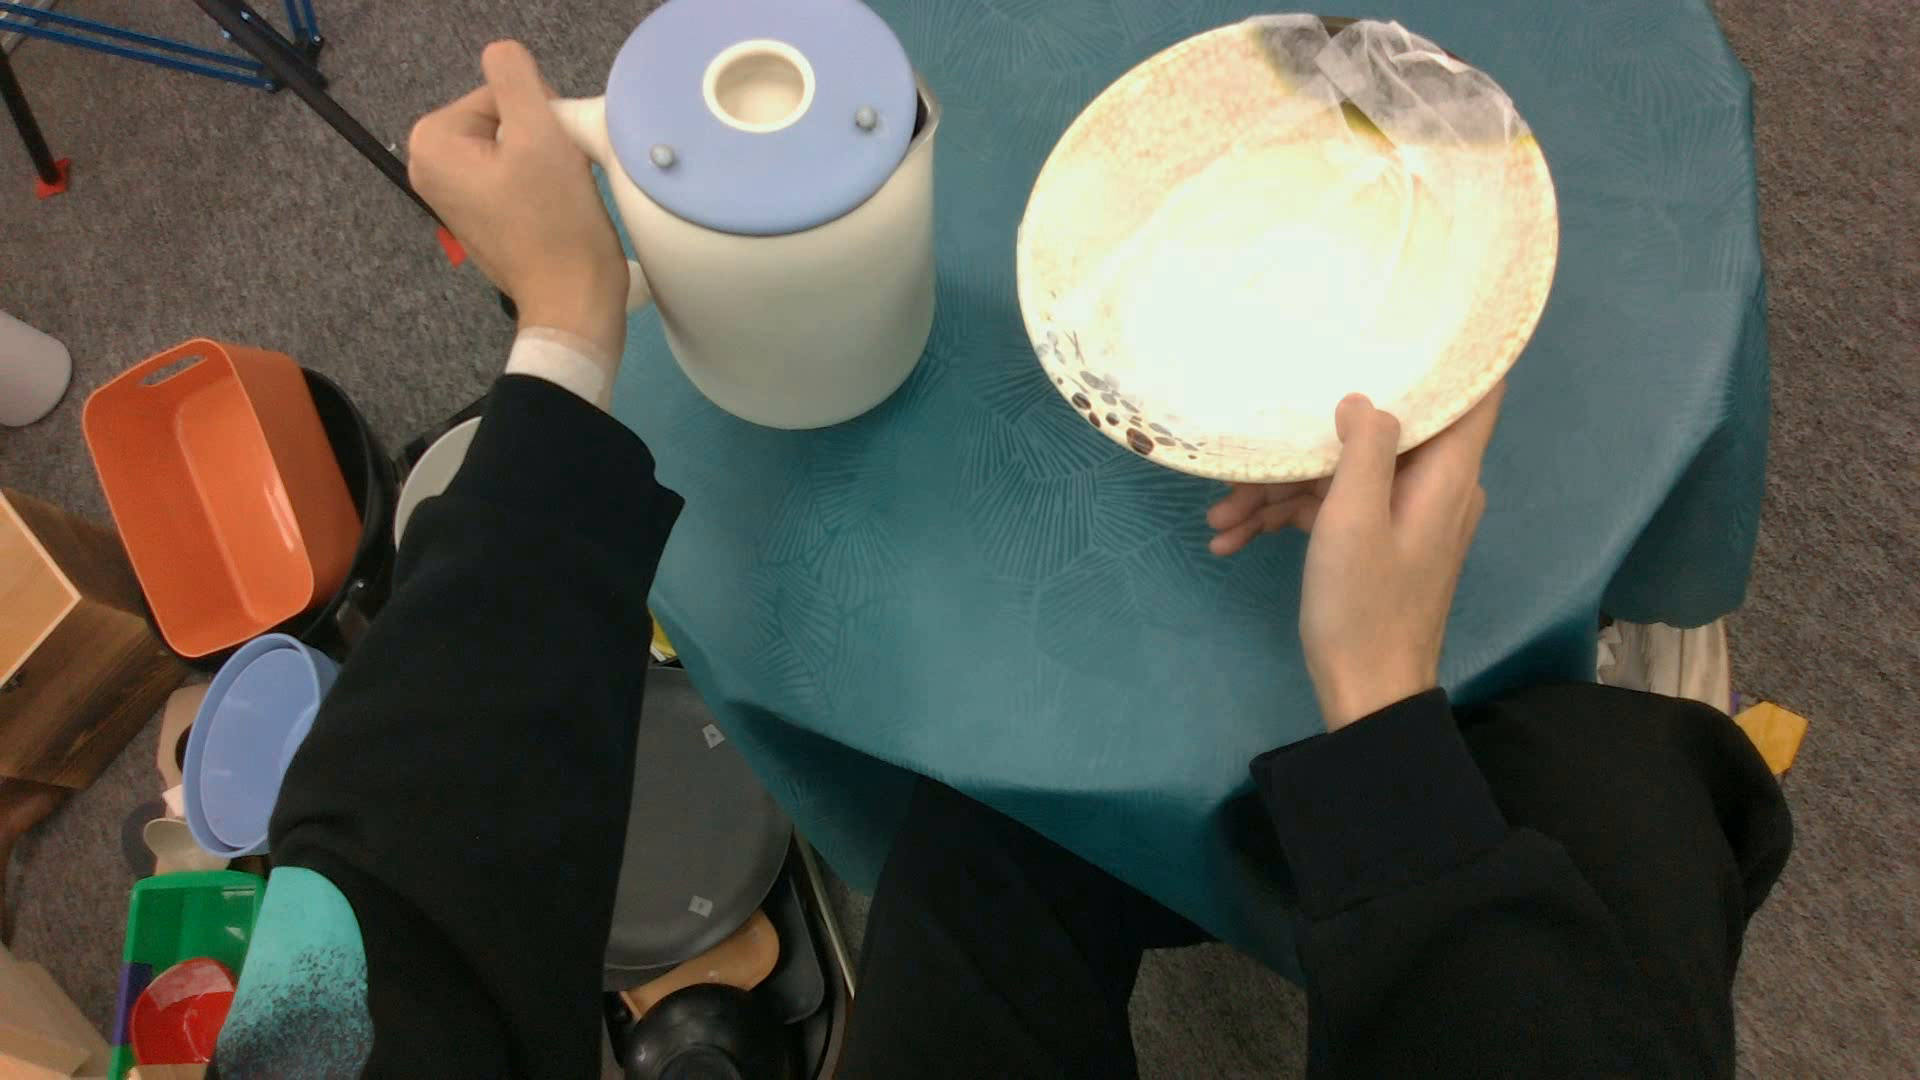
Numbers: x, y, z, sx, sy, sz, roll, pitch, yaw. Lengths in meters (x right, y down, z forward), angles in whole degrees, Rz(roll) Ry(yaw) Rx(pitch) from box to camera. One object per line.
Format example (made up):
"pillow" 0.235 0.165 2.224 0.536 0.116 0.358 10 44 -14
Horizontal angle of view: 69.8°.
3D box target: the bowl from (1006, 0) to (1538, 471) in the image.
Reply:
"bowl" 0.126 -0.115 0.572 0.204 0.078 0.204 -4 73 14

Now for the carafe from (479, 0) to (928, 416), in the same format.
"carafe" -0.107 -0.147 0.600 0.191 0.182 0.132 0 69 0
